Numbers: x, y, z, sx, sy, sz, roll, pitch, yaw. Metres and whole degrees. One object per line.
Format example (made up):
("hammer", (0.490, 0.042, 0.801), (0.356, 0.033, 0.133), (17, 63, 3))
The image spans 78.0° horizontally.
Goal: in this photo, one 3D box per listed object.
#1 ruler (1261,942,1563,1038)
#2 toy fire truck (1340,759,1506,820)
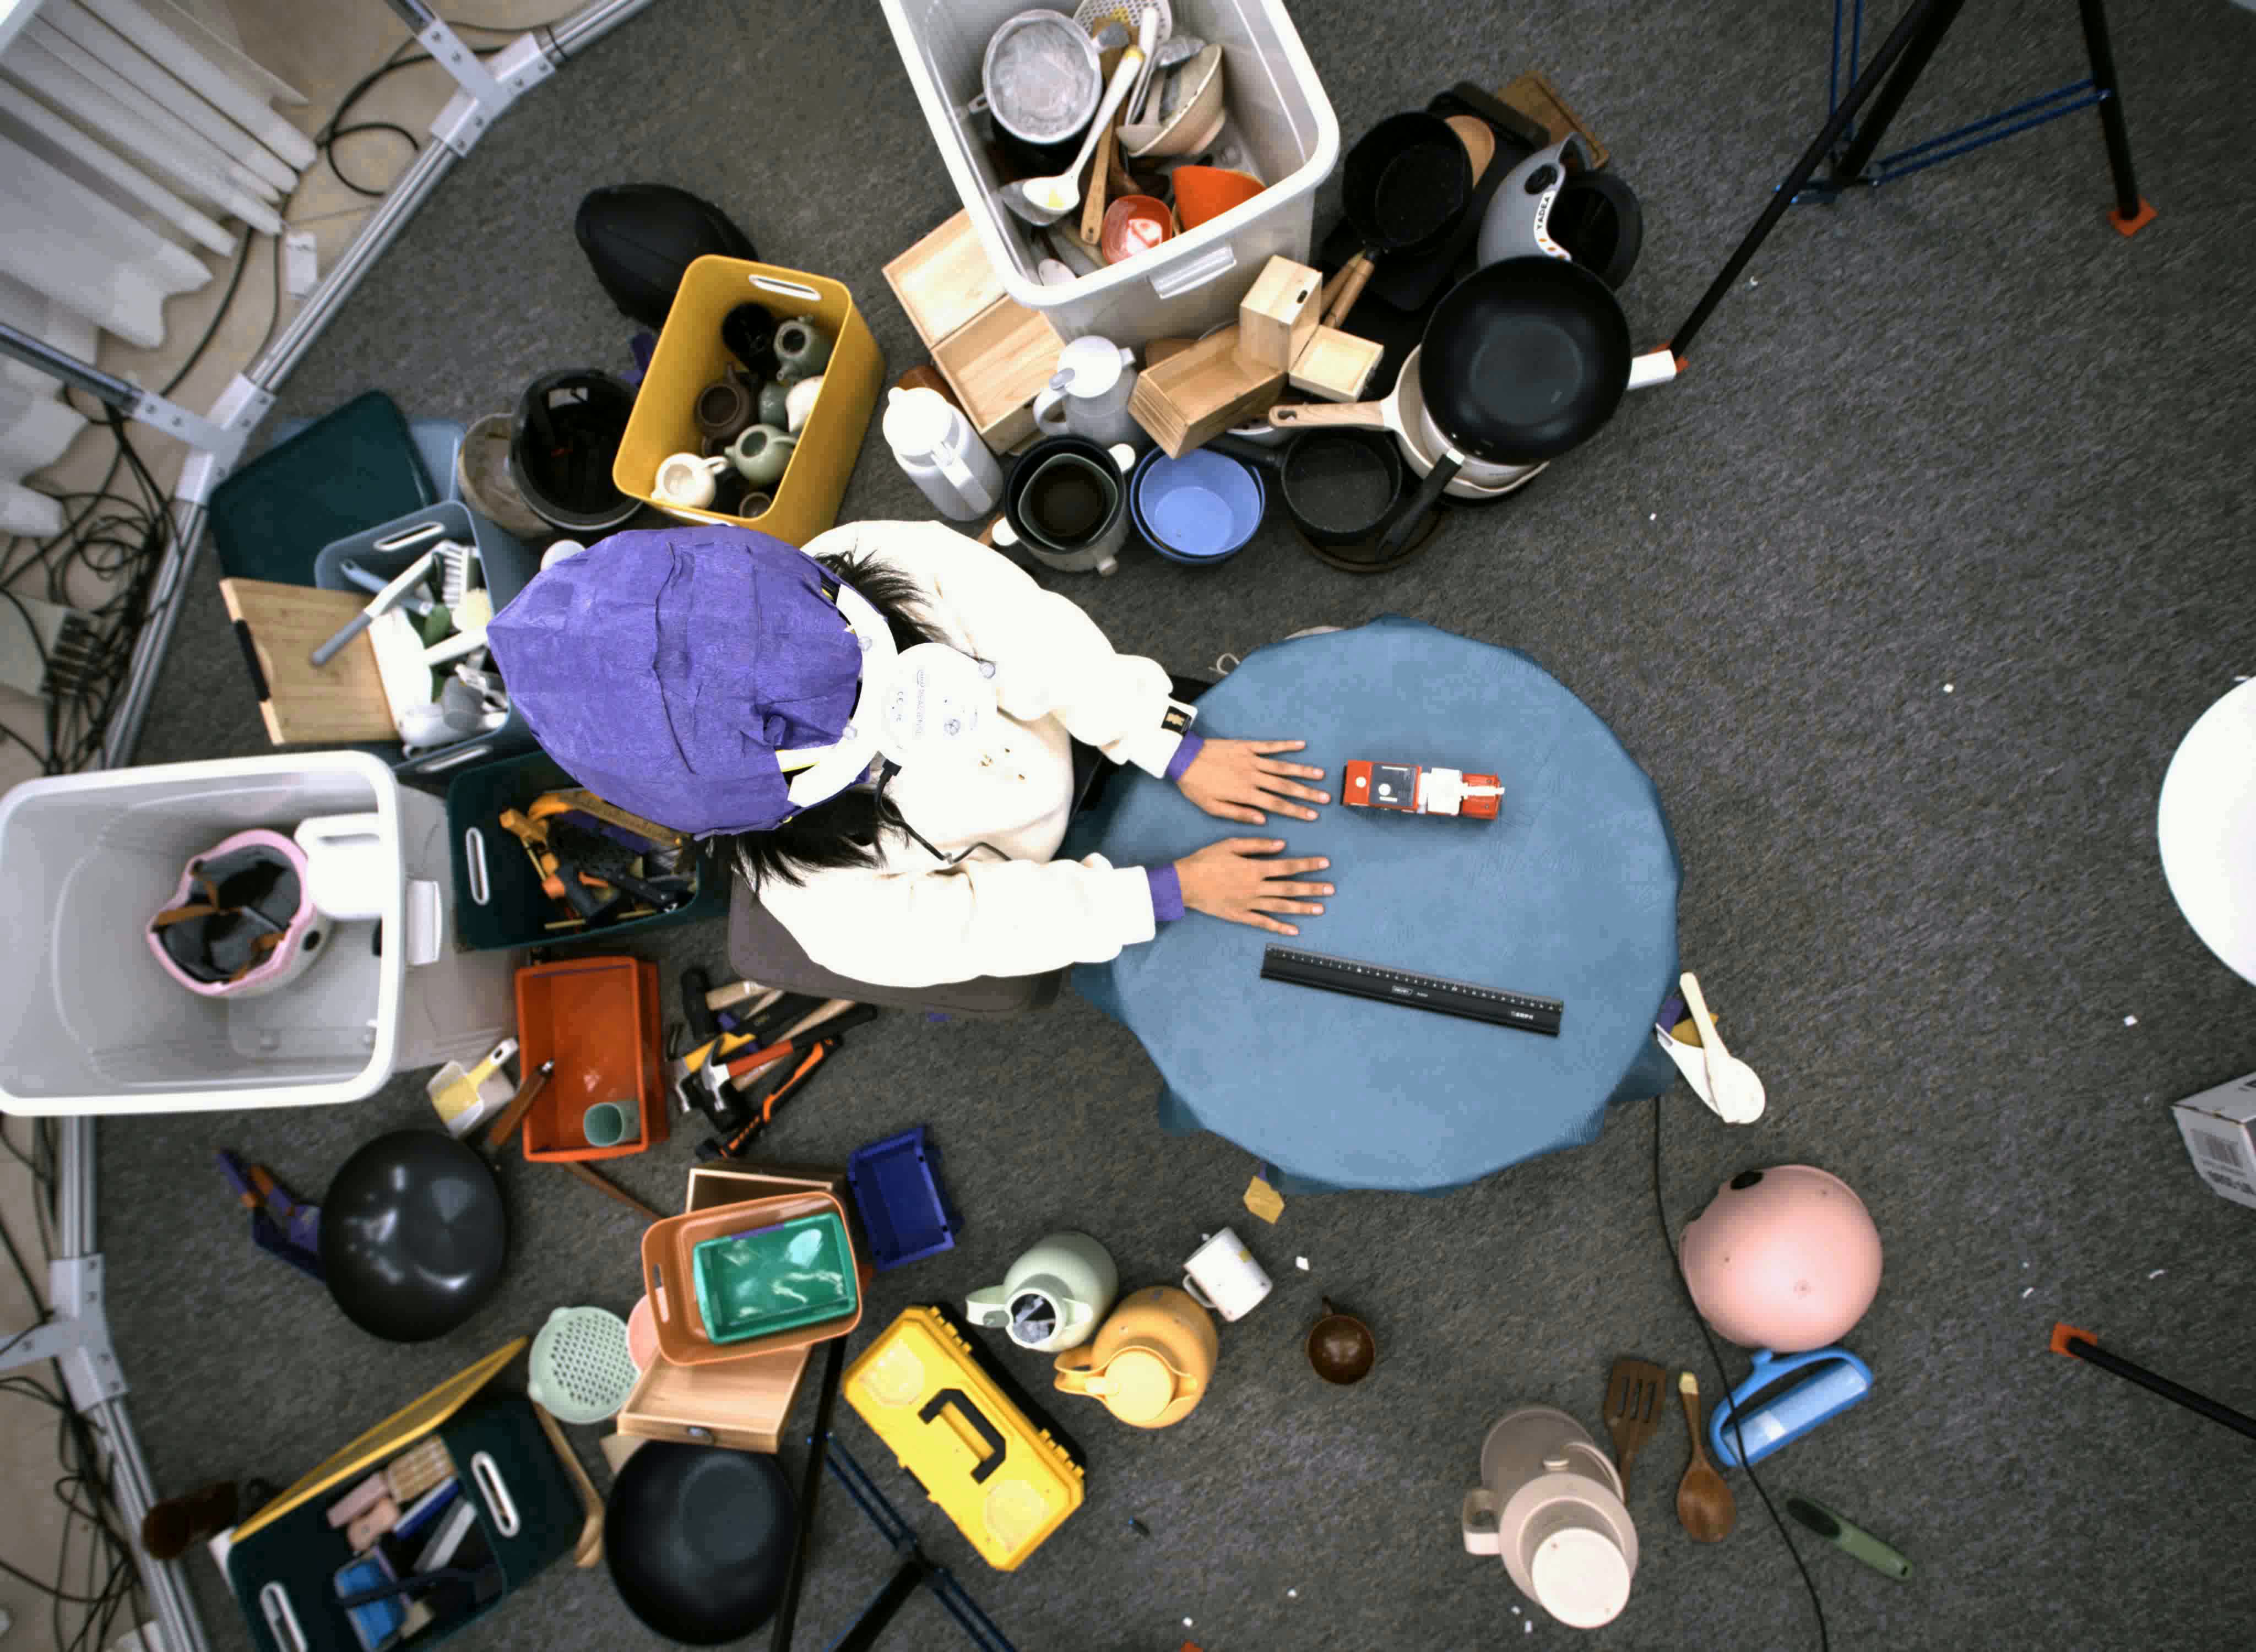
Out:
("ruler", (0.295, 0.169, 1.442), (0.313, 0.017, 0.039), (11, 84, 11))
("toy fire truck", (0.306, -0.040, 1.430), (0.168, 0.070, 0.054), (6, 88, 13))
